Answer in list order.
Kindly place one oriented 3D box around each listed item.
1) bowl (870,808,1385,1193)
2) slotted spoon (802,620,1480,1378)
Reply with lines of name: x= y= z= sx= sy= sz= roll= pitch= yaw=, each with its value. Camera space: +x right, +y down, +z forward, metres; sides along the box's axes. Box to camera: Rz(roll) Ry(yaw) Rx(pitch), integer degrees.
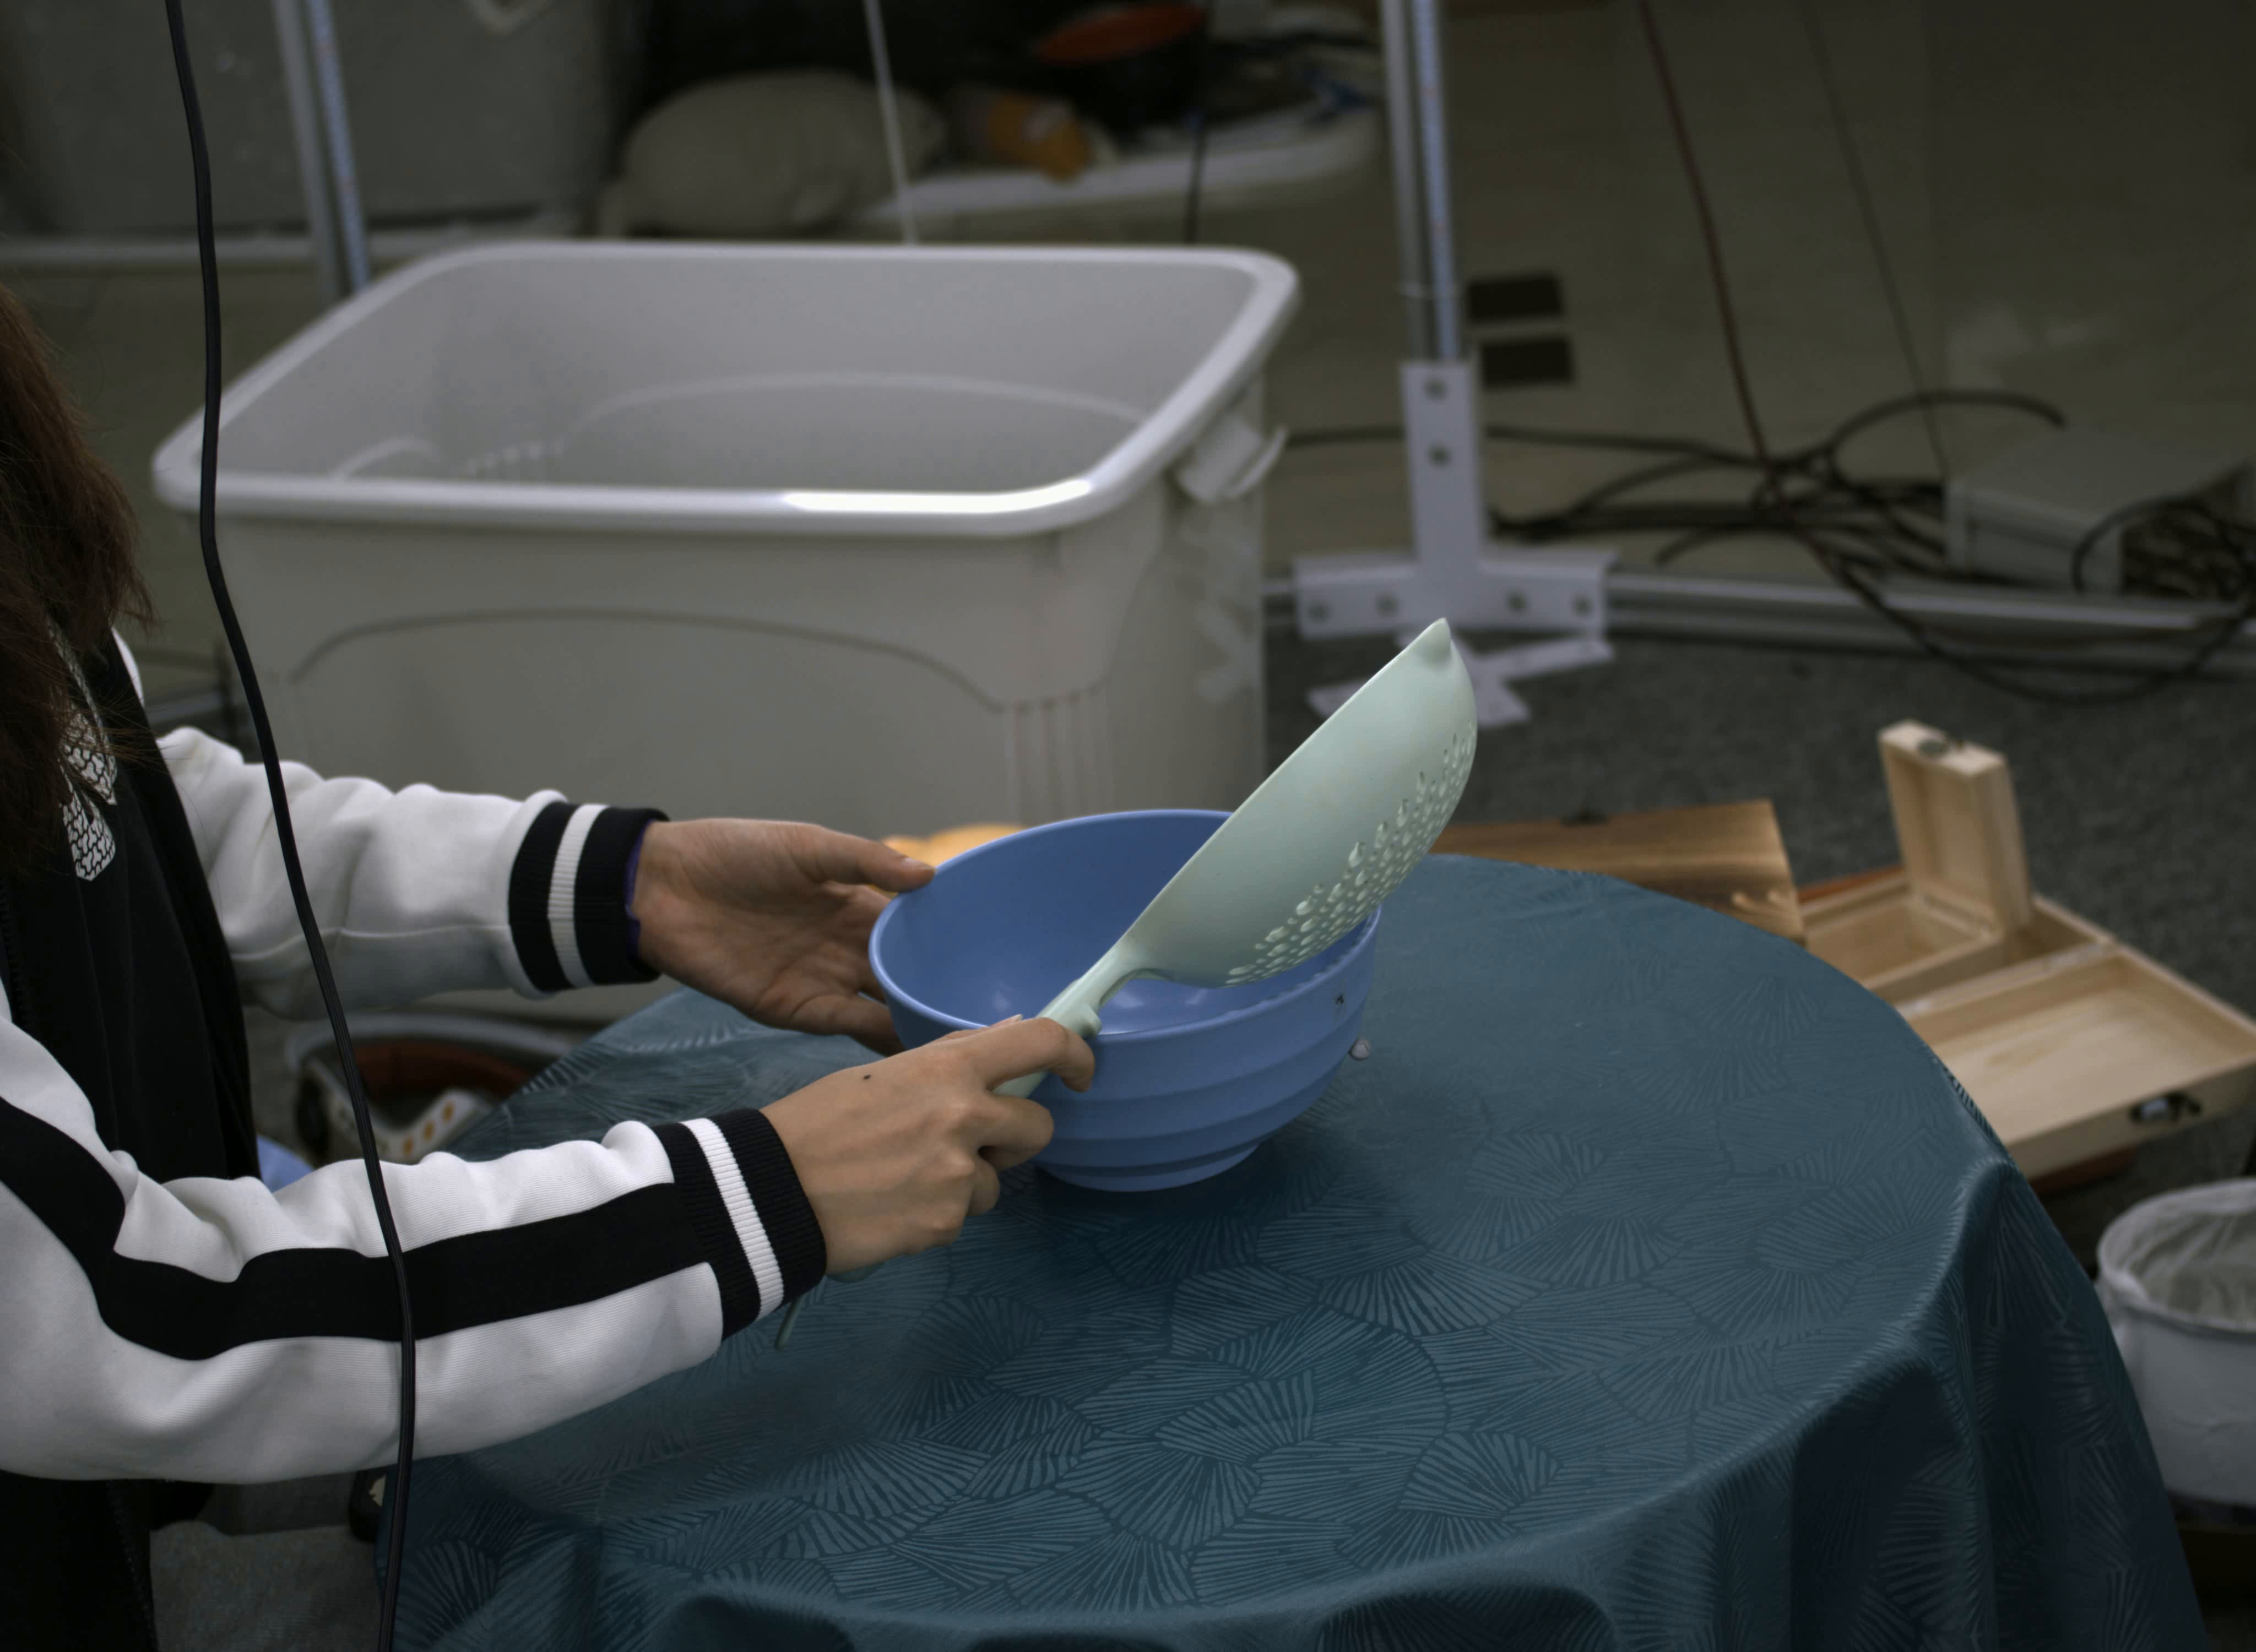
bowl: x=0.004 y=0.077 z=2.166 sx=0.196 sy=0.097 sz=0.193 roll=-5 pitch=26 yaw=3
slotted spoon: x=0.000 y=0.062 z=2.059 sx=0.356 sy=0.075 sz=0.171 roll=-37 pitch=-6 yaw=-16
